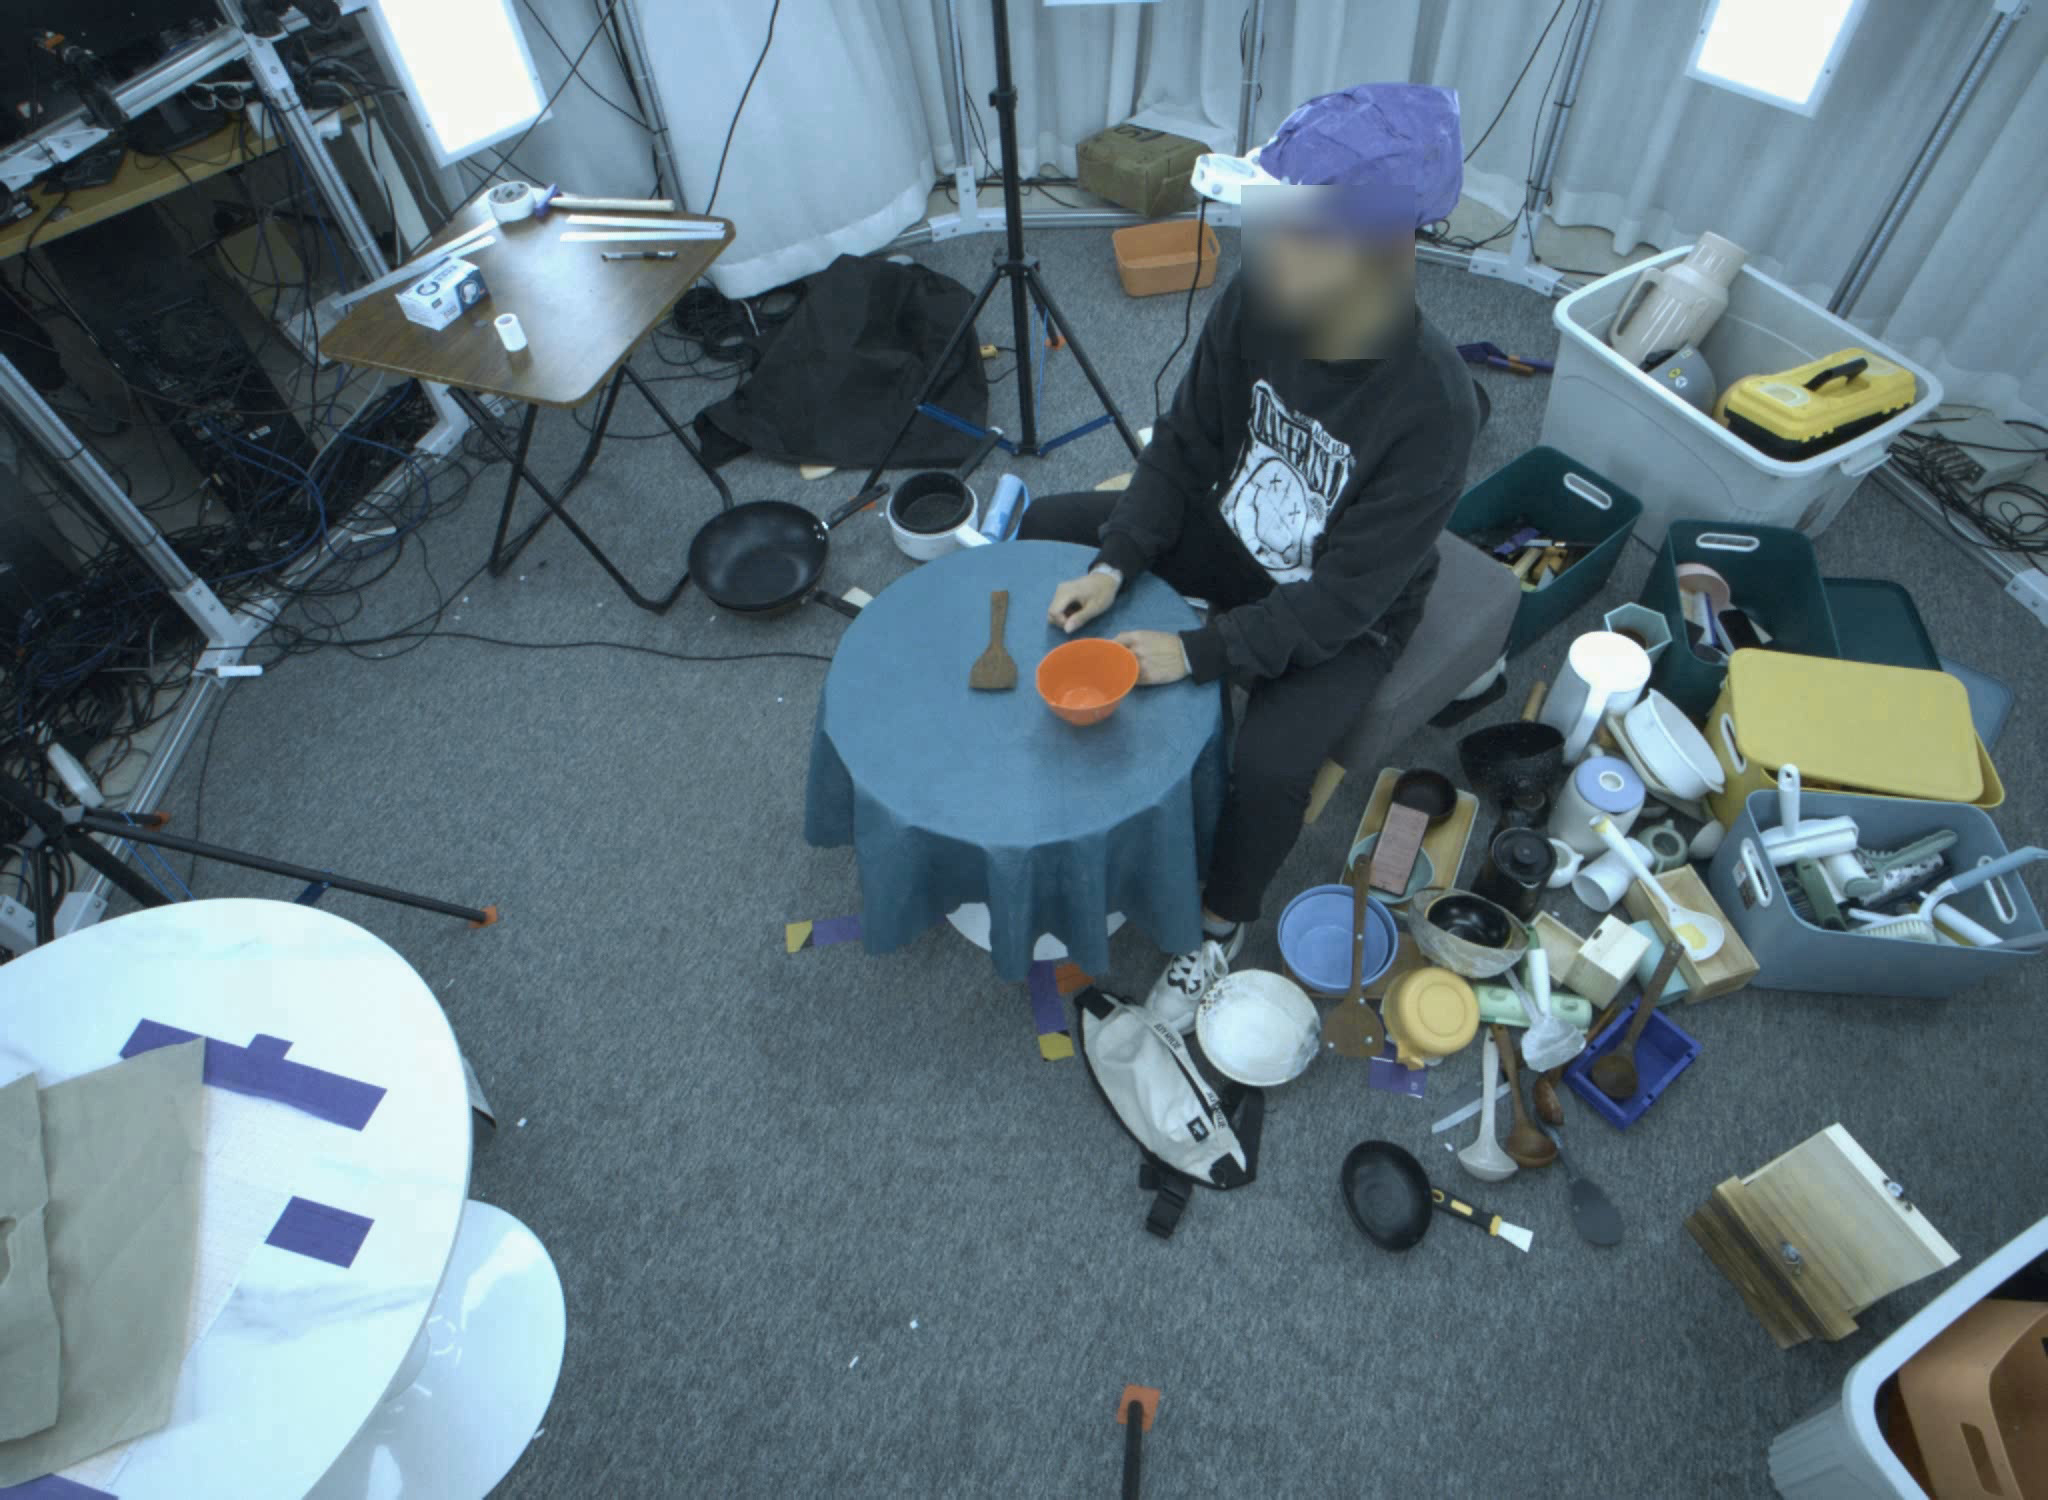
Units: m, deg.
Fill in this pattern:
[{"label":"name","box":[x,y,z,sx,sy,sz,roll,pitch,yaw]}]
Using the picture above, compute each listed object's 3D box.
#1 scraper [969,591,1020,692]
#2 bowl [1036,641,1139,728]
[{"label":"scraper","box":[-0.041,-0.170,1.914,0.076,0.011,0.209,2,54,2]},{"label":"bowl","box":[0.092,-0.080,1.789,0.148,0.106,0.146,-1,55,3]}]
